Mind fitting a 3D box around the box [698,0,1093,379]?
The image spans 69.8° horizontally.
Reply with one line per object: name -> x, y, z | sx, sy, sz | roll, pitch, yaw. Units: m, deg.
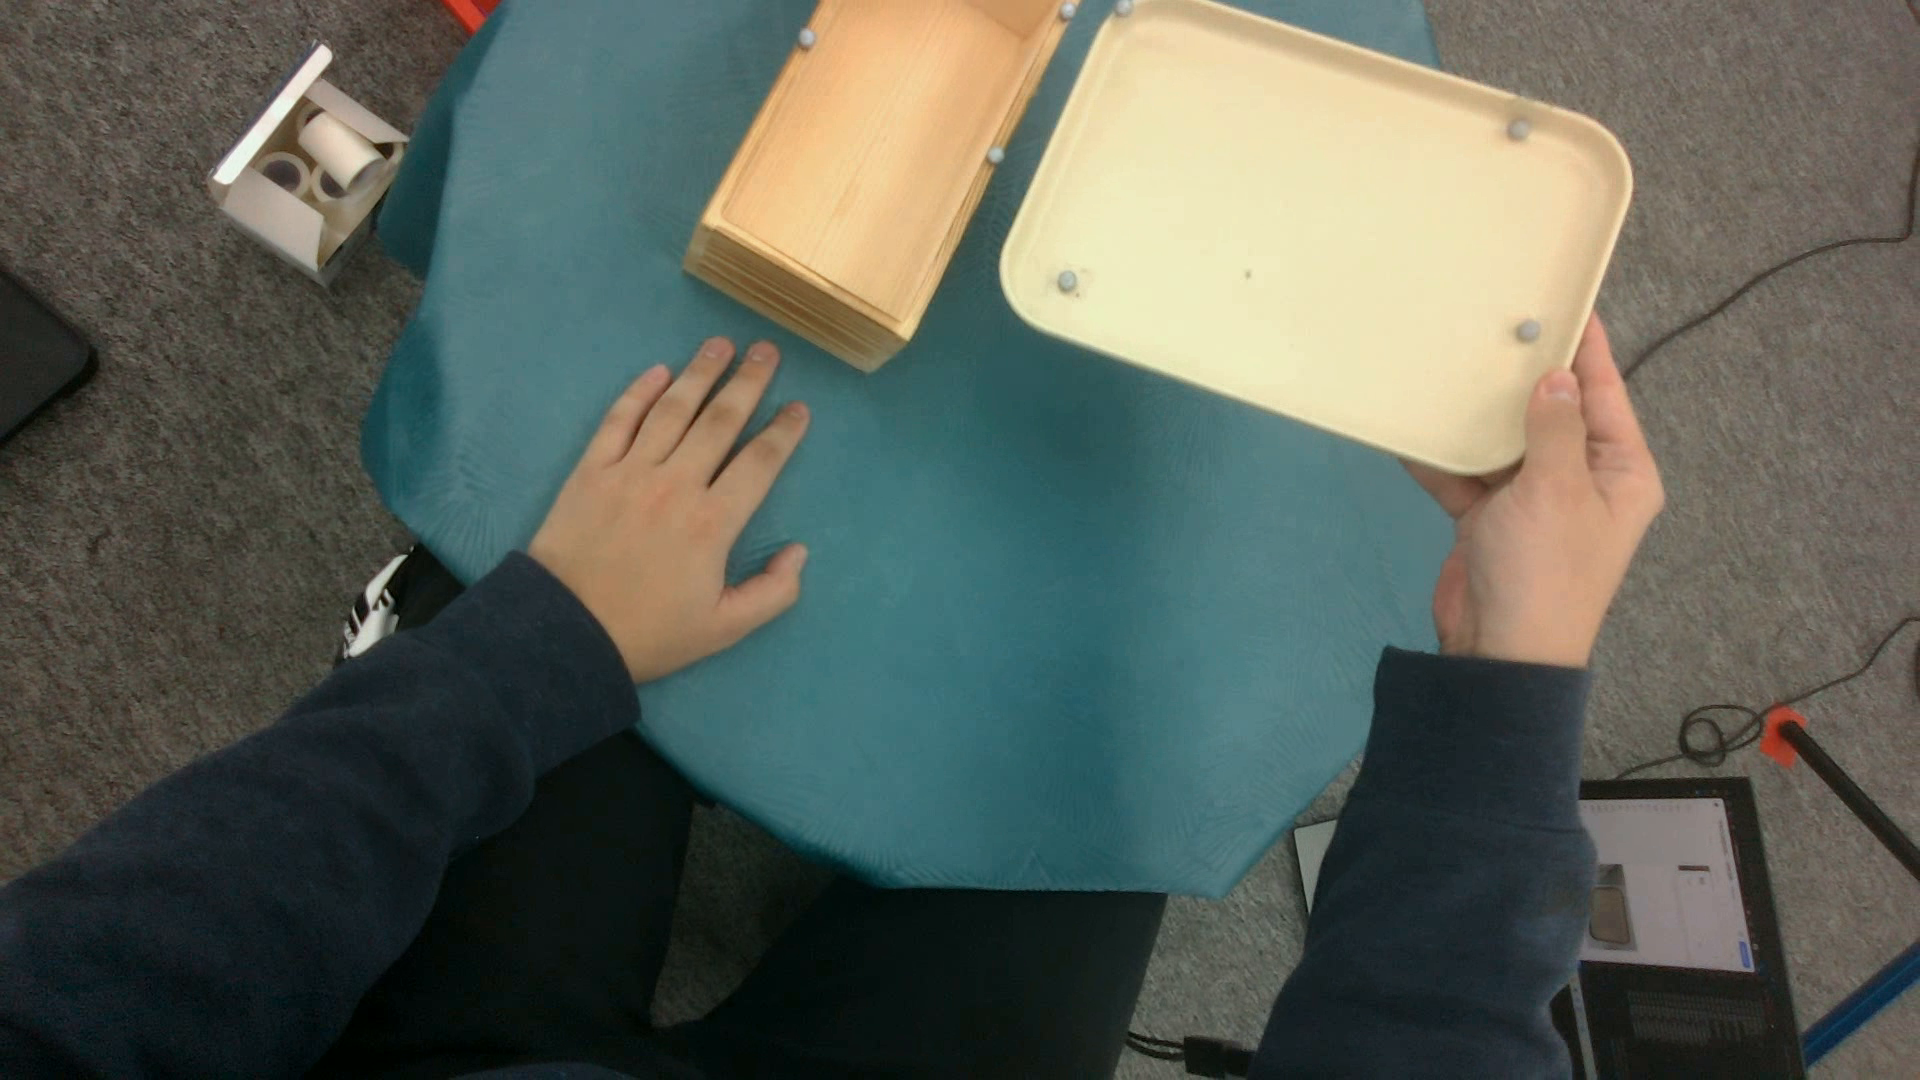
box -> -0.031, -0.201, 0.685 | 0.107, 0.080, 0.212 | 28, 77, -12

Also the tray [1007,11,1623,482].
tray -> 0.153, -0.132, 0.608 | 0.239, 0.017, 0.171 | 21, 81, 11
